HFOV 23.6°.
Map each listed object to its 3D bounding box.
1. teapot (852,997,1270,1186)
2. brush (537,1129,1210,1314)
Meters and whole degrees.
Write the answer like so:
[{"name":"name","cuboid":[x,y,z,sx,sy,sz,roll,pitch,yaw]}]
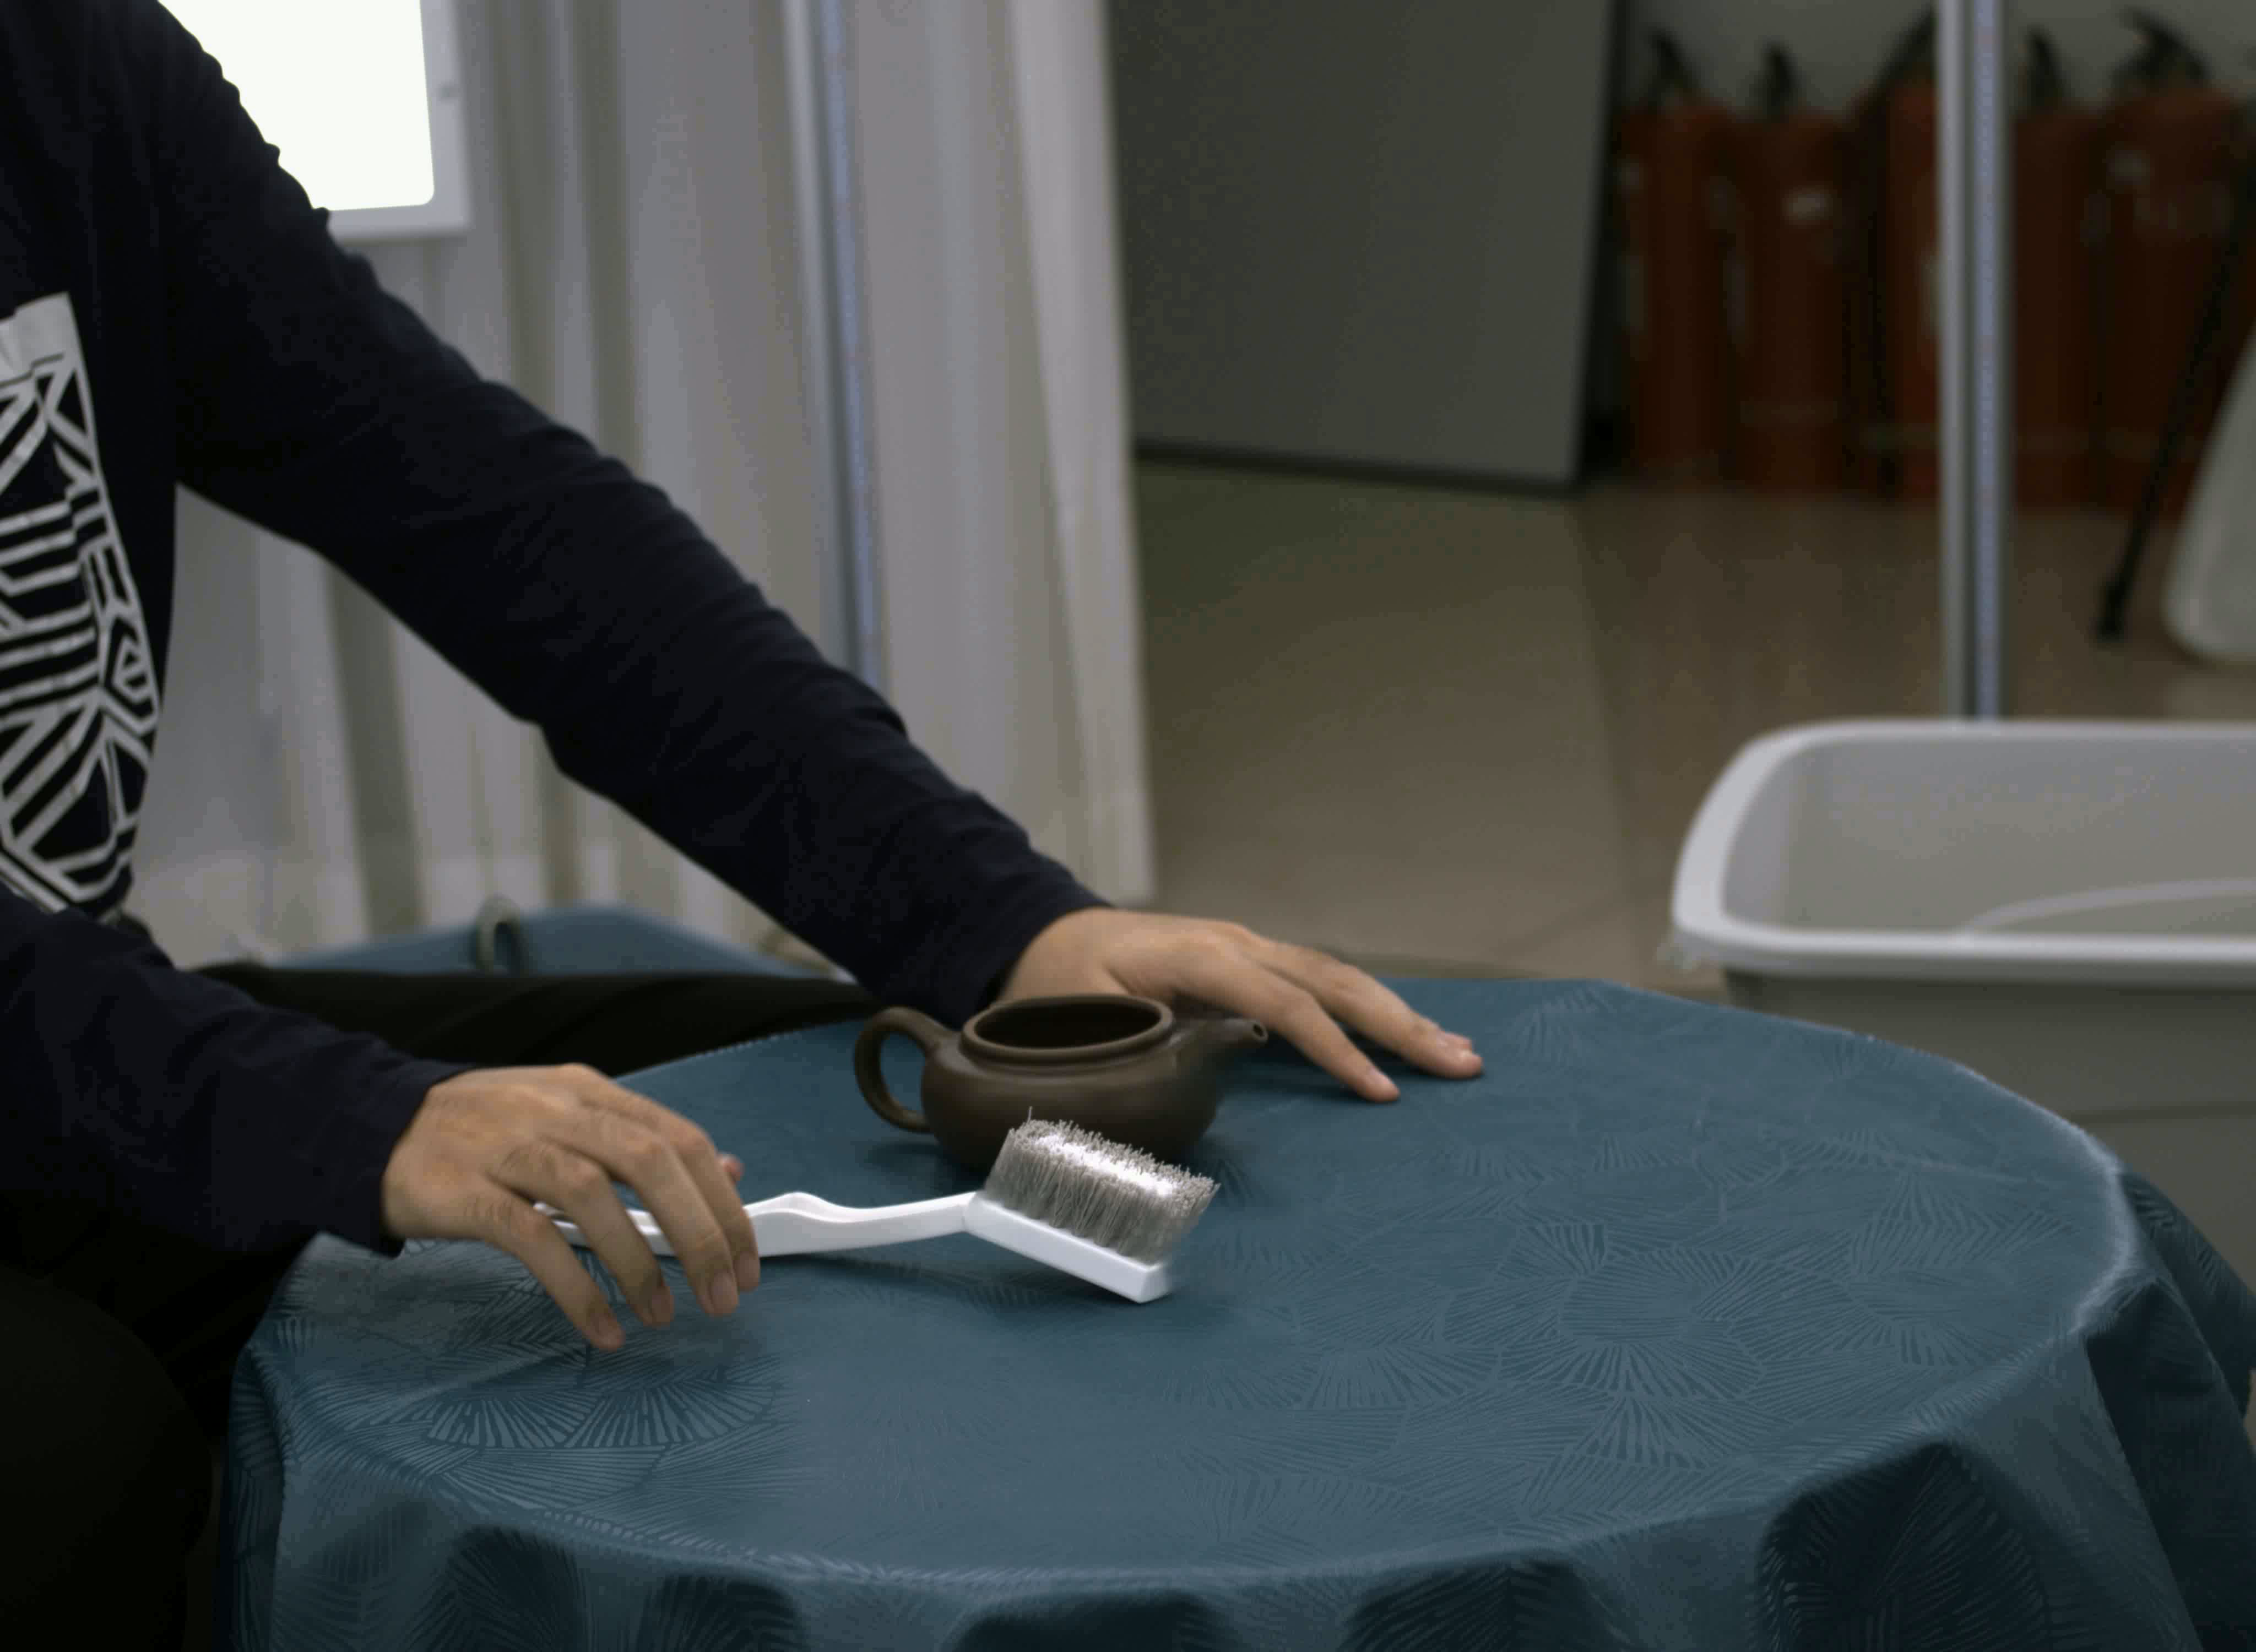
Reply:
[{"name":"teapot","cuboid":[-0.022,0.088,1.808,0.153,0.054,0.101,1,14,20]},{"name":"brush","cuboid":[-0.086,0.117,1.716,0.244,0.051,0.034,4,18,28]}]
